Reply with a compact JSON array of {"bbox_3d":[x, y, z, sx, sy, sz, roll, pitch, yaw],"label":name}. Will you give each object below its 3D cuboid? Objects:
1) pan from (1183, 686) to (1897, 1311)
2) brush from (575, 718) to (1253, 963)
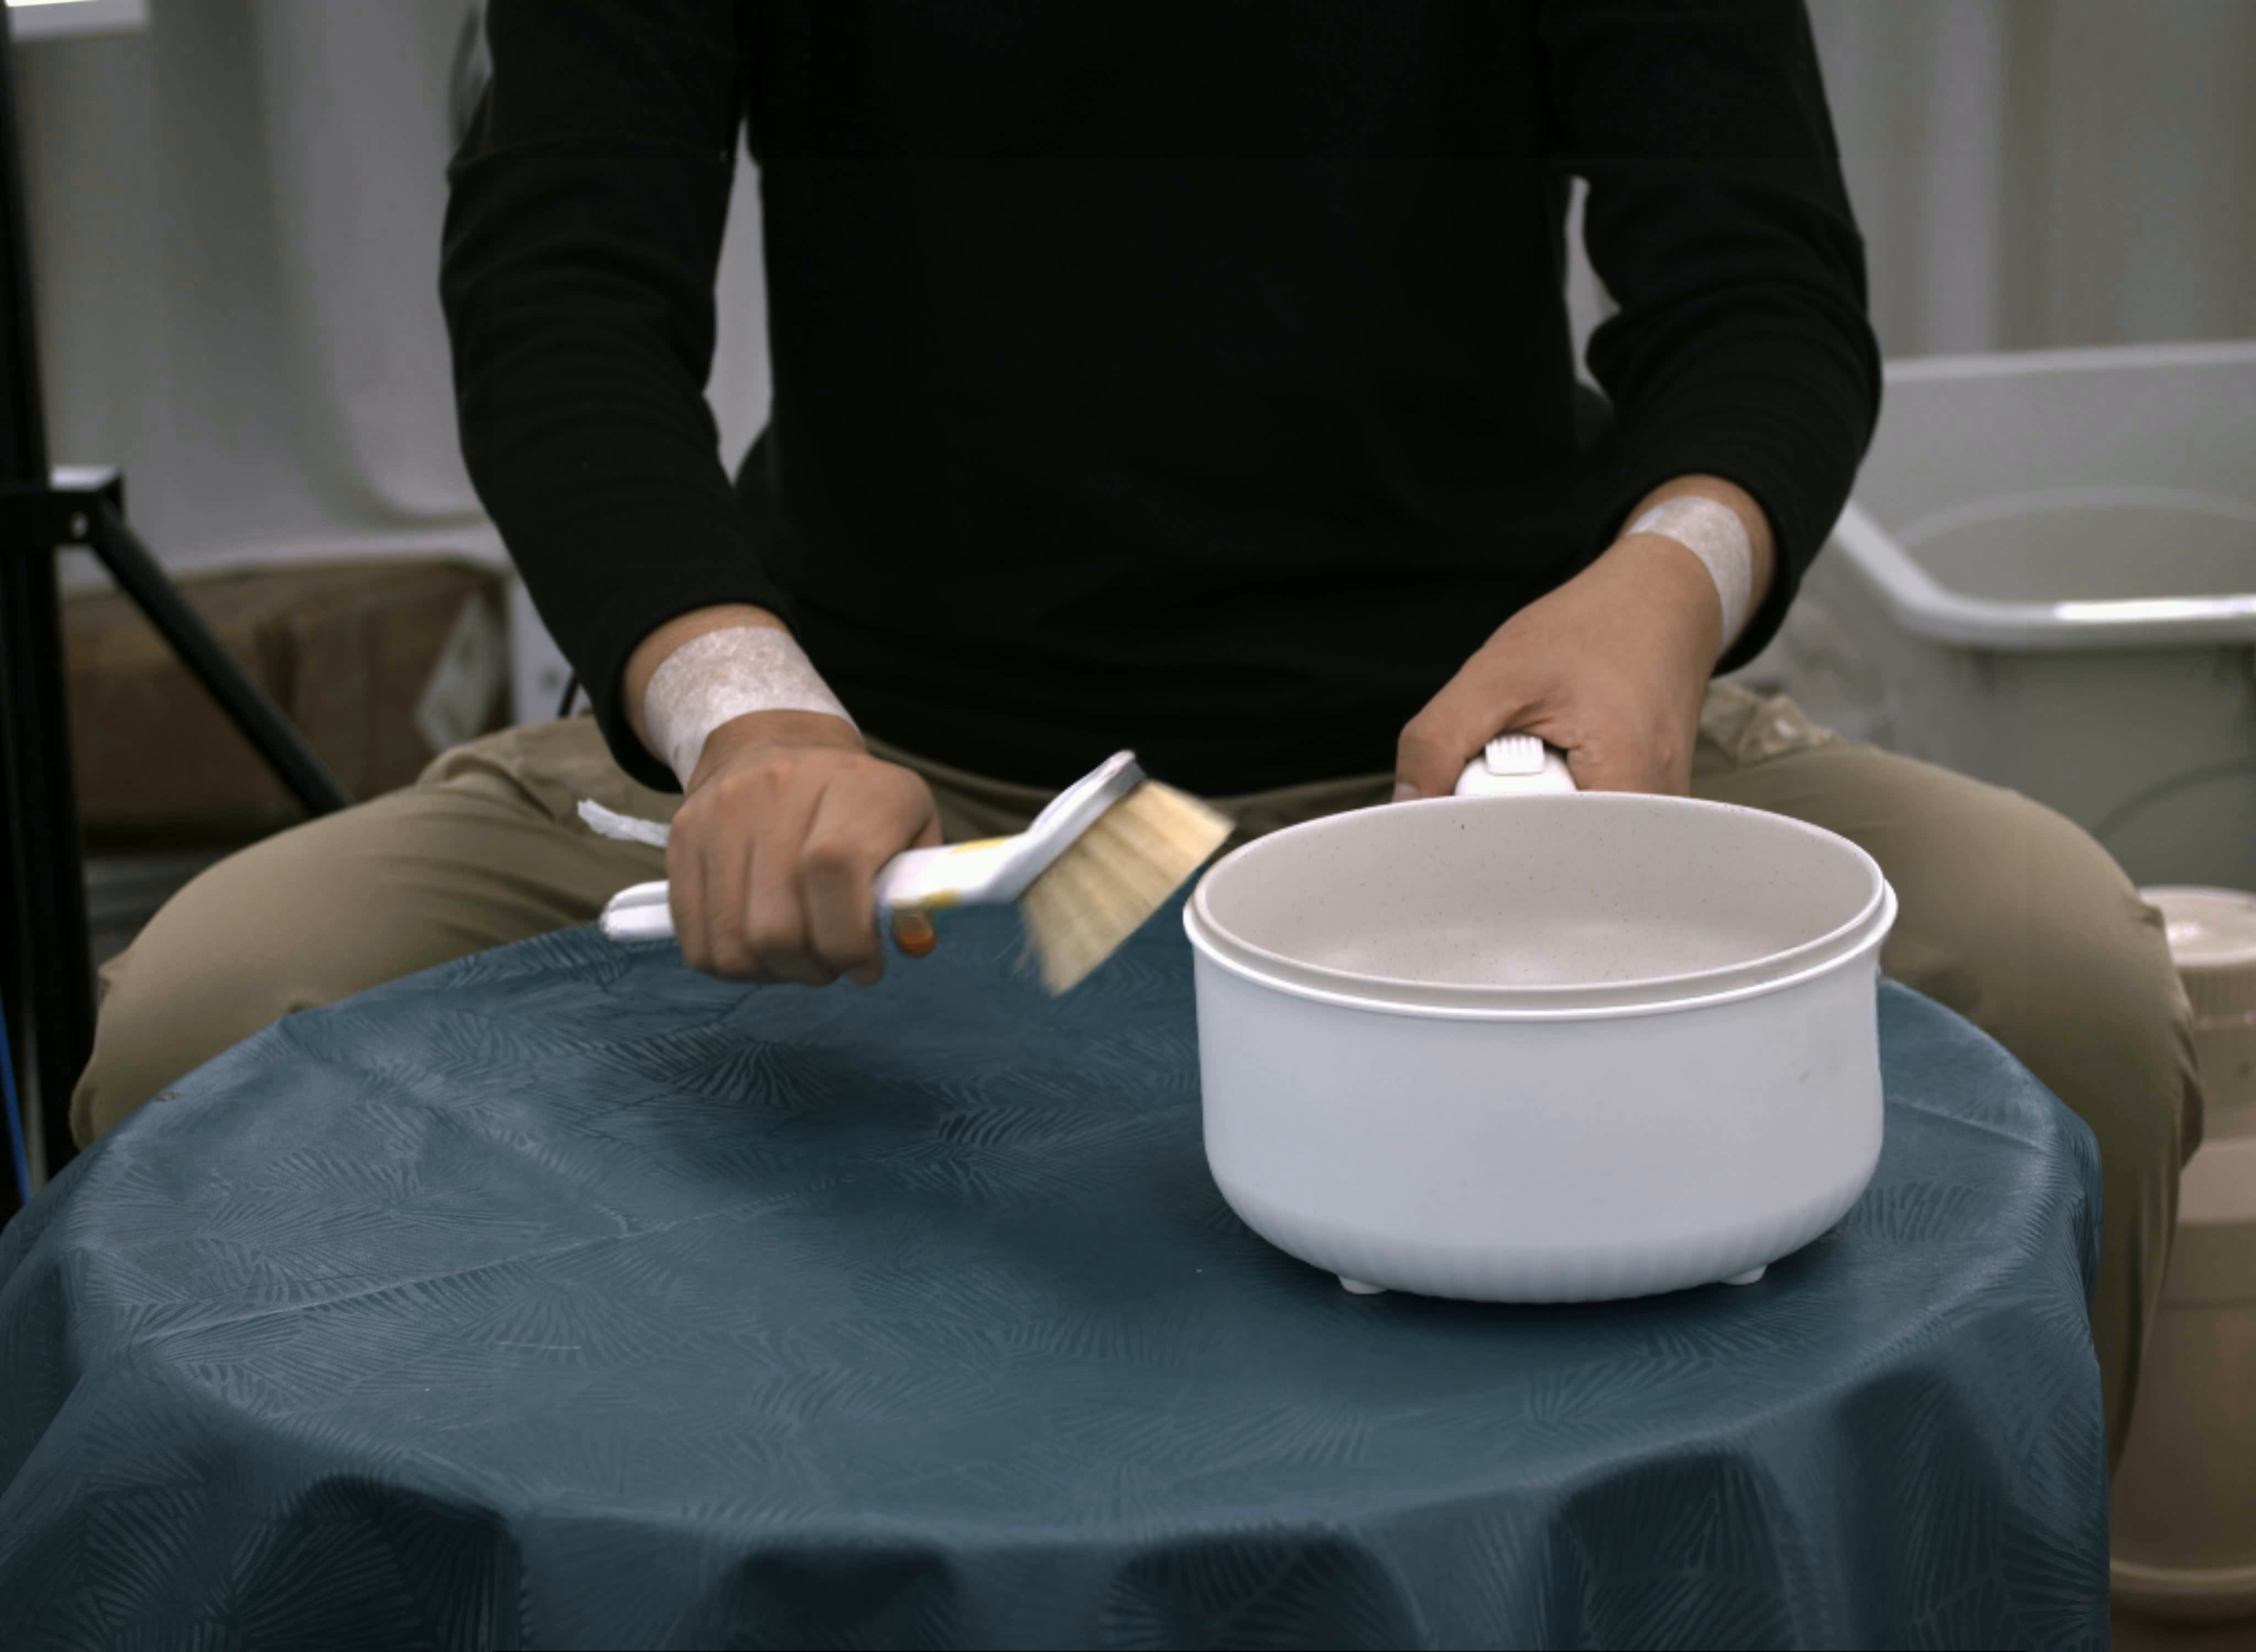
[{"bbox_3d":[0.120,0.047,1.579,0.201,0.102,0.355,-3,15,3],"label":"pan"},{"bbox_3d":[-0.068,0.021,1.613,0.271,0.056,0.067,-14,13,44],"label":"brush"}]
